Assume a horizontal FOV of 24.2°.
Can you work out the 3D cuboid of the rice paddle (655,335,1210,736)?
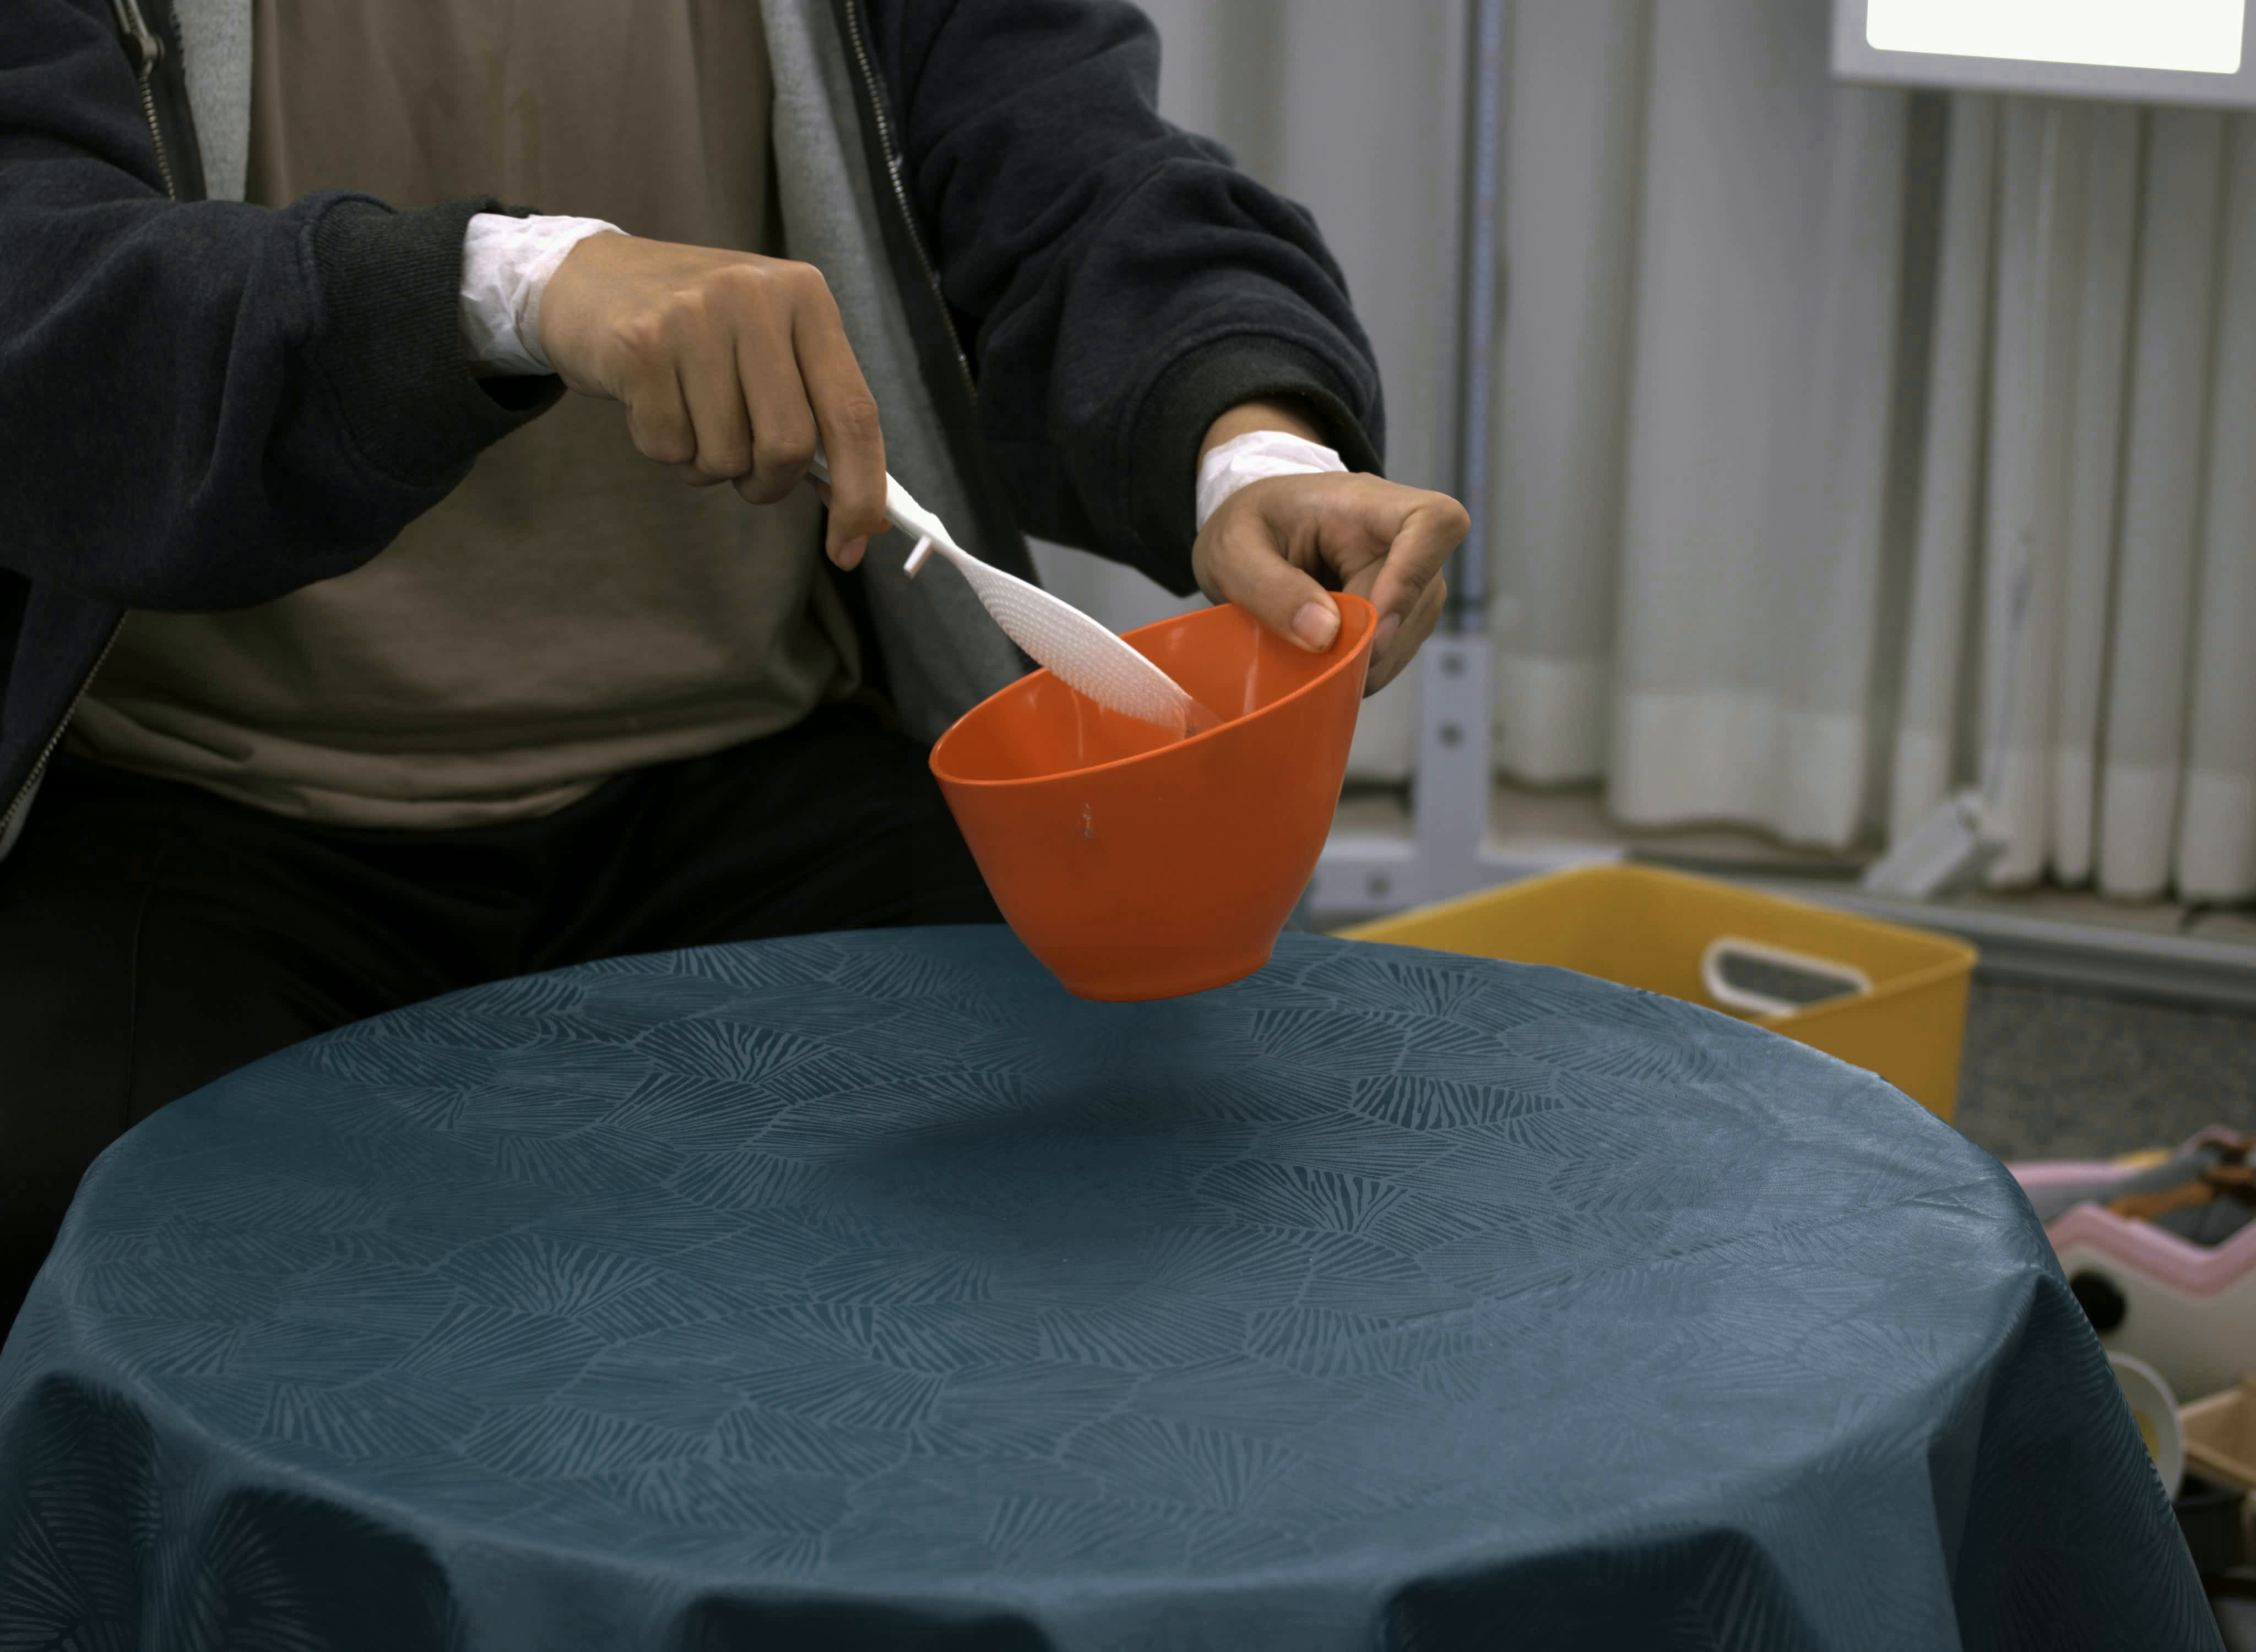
[{"bbox_3d":[-0.057,-0.088,1.660,0.204,0.029,0.069,34,-6,3],"label":"rice paddle"}]

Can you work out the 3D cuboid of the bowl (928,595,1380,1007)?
[{"bbox_3d":[0.015,-0.004,1.665,0.147,0.105,0.147,-9,15,3],"label":"bowl"}]
